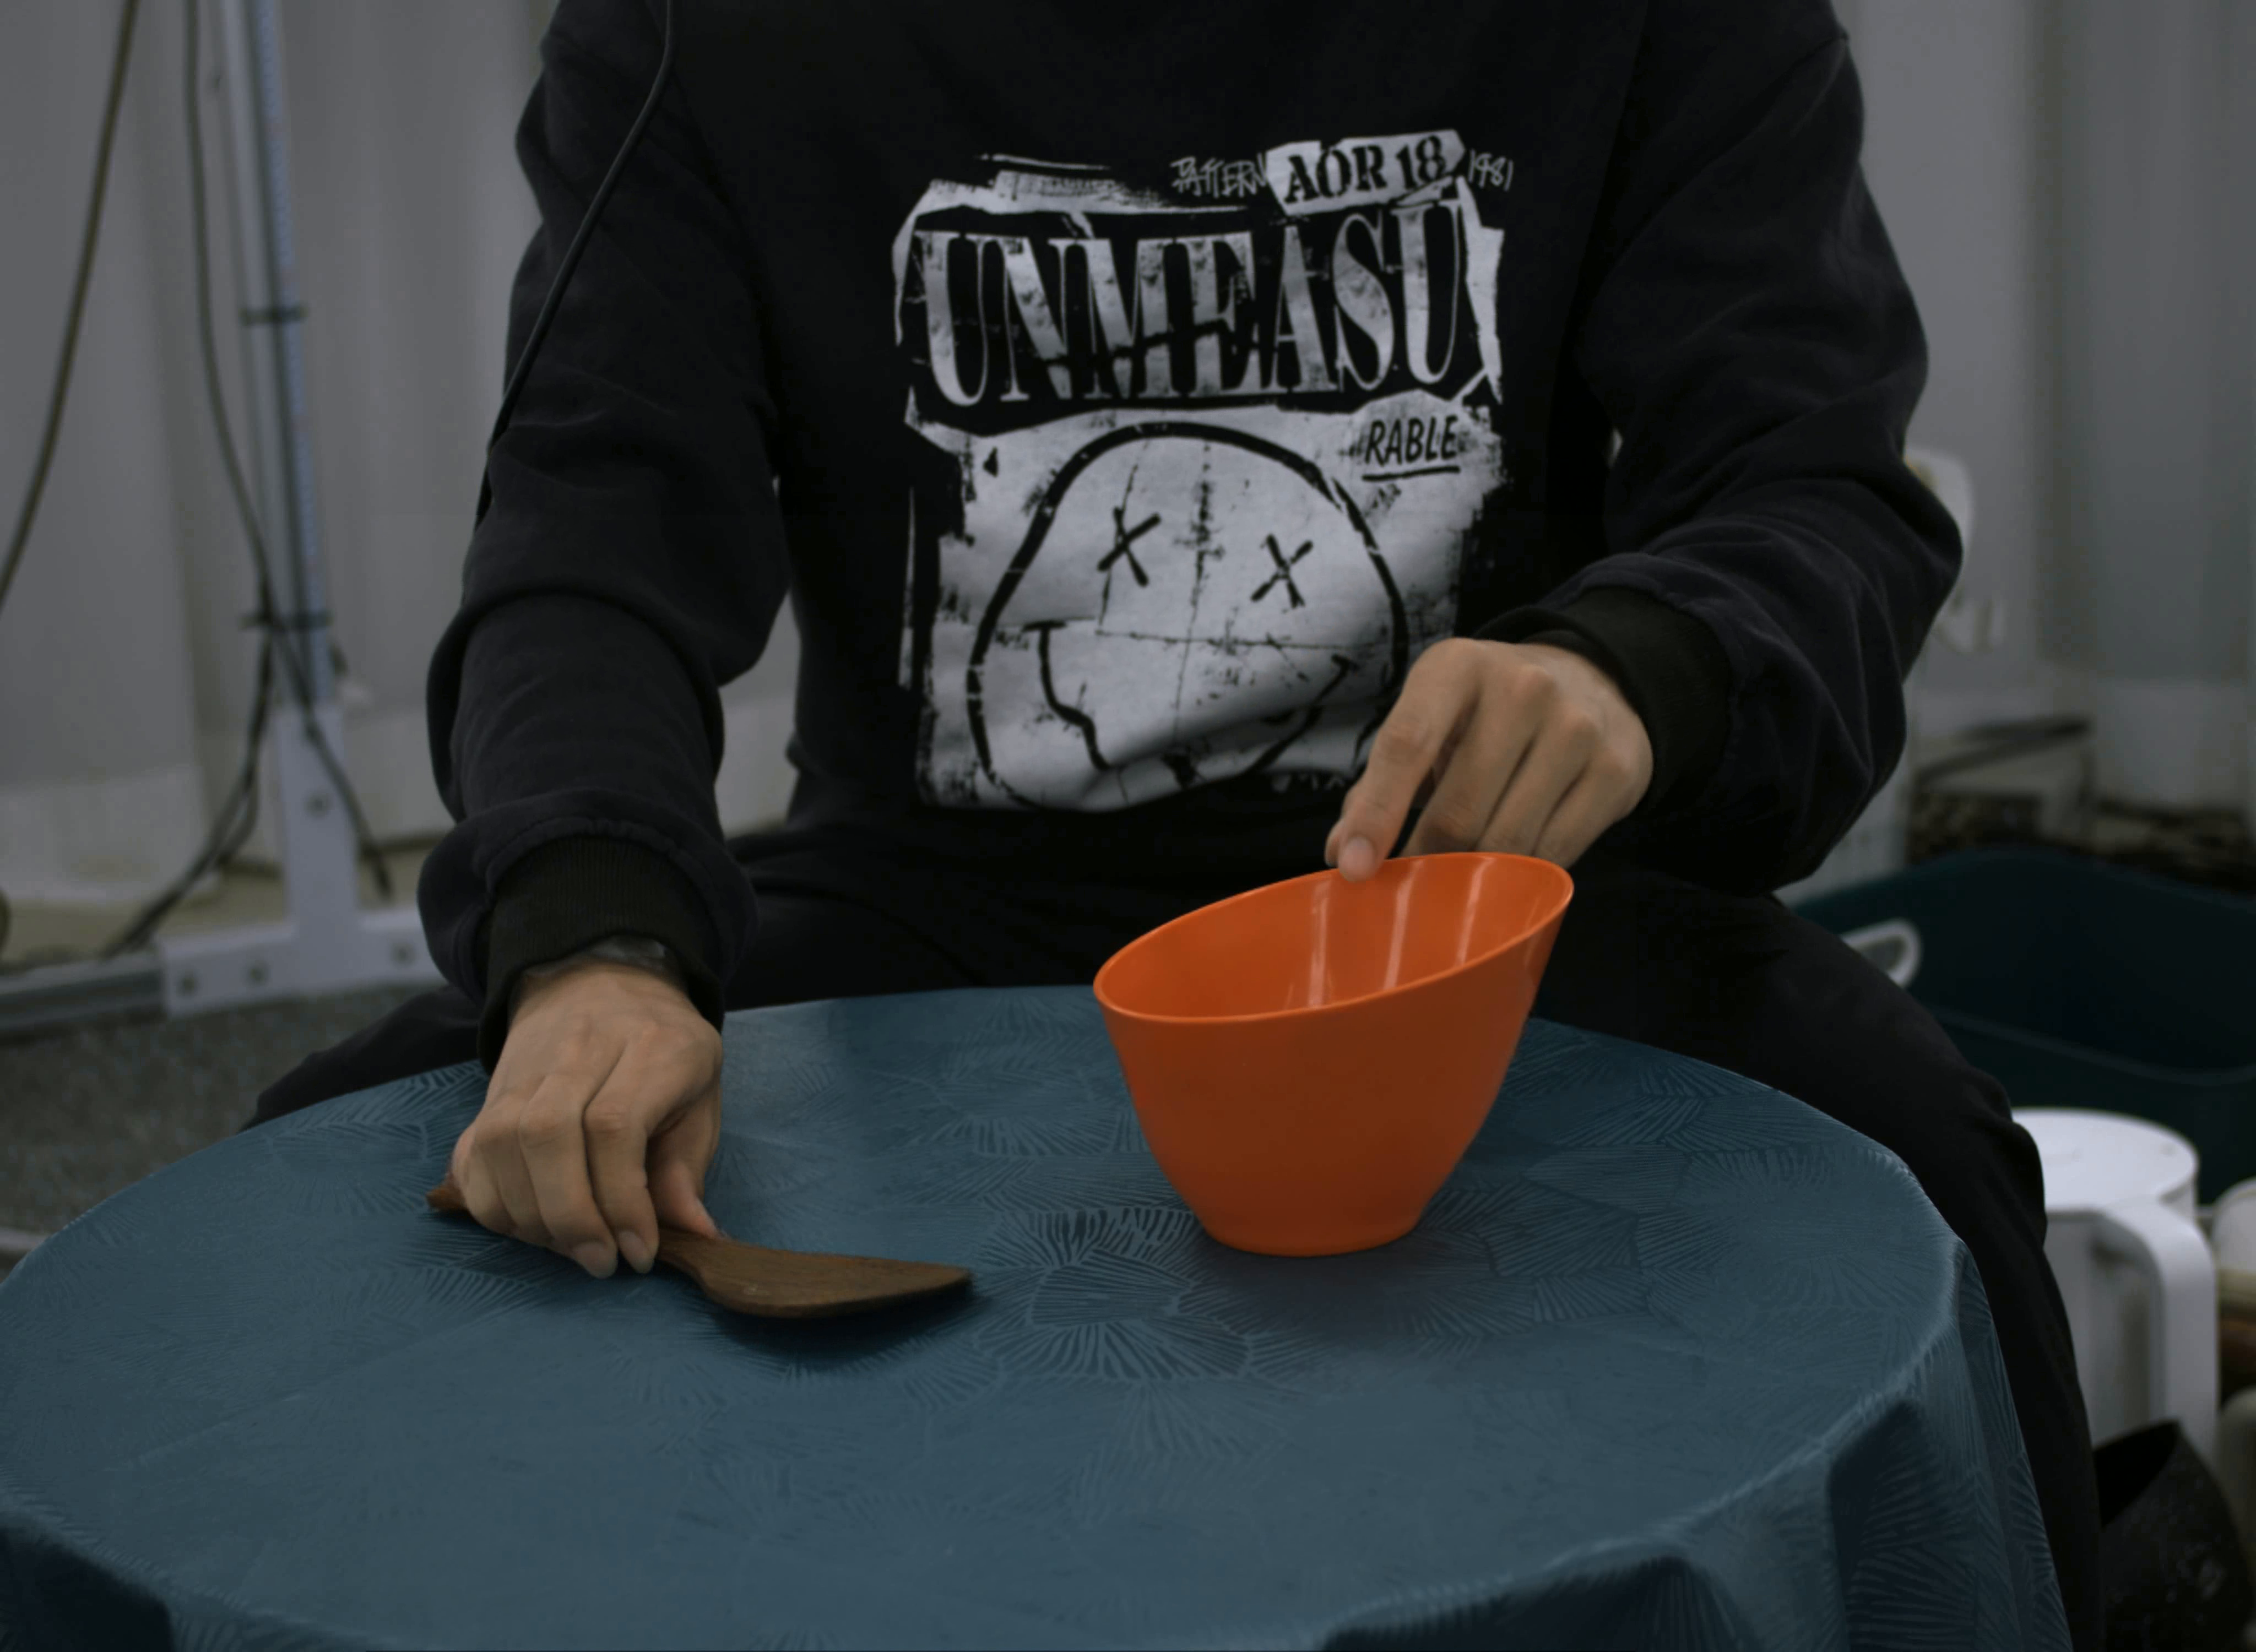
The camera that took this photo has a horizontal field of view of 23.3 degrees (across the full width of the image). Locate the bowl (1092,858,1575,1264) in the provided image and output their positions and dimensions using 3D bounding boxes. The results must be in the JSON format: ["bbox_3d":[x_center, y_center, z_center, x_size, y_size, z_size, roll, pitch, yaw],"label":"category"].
[{"bbox_3d":[0.064,0.073,1.663,0.147,0.104,0.149,-3,15,0],"label":"bowl"}]

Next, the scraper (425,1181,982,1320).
[{"bbox_3d":[-0.138,0.128,1.666,0.212,0.011,0.075,9,11,42],"label":"scraper"}]
